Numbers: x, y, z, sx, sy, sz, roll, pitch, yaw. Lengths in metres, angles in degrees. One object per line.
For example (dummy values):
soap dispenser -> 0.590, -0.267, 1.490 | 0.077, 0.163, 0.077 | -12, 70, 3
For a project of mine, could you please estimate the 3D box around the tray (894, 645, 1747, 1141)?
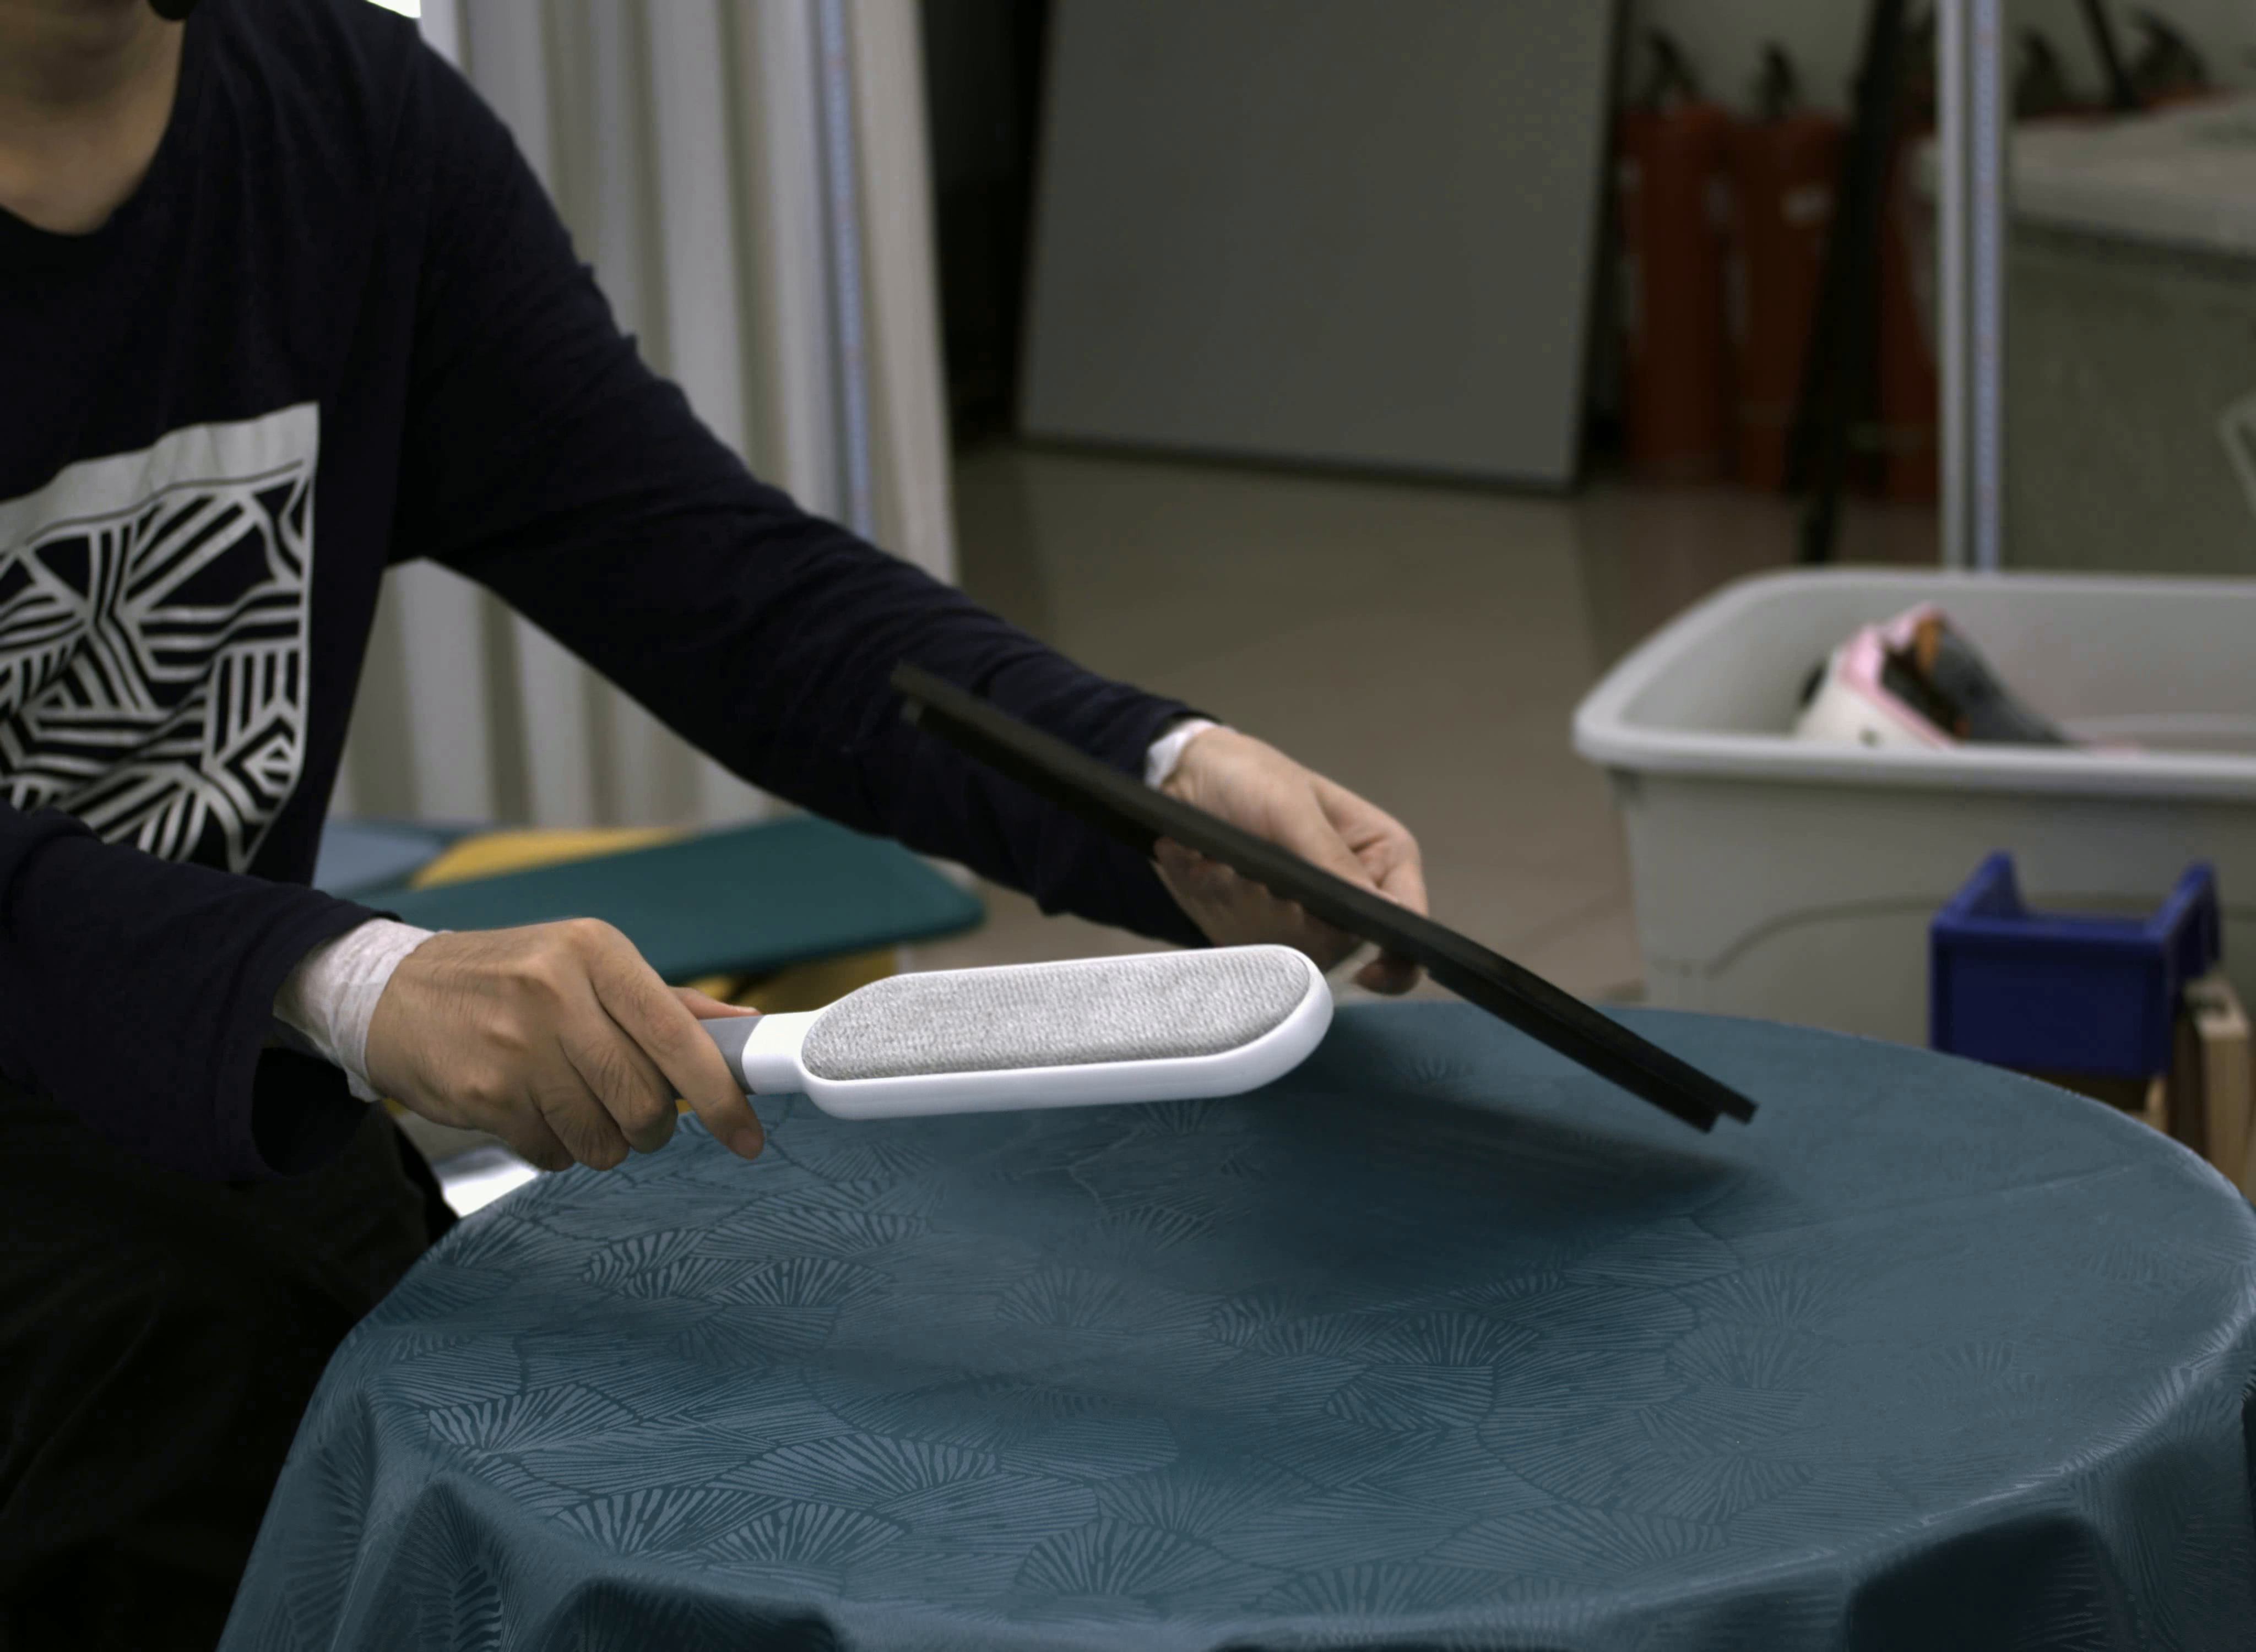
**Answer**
tray -> 0.059, 0.023, 1.802 | 0.309, 0.019, 0.167 | 27, -5, 46

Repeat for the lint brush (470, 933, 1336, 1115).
lint brush -> -0.075, 0.064, 1.643 | 0.310, 0.021, 0.060 | -5, 39, 31
